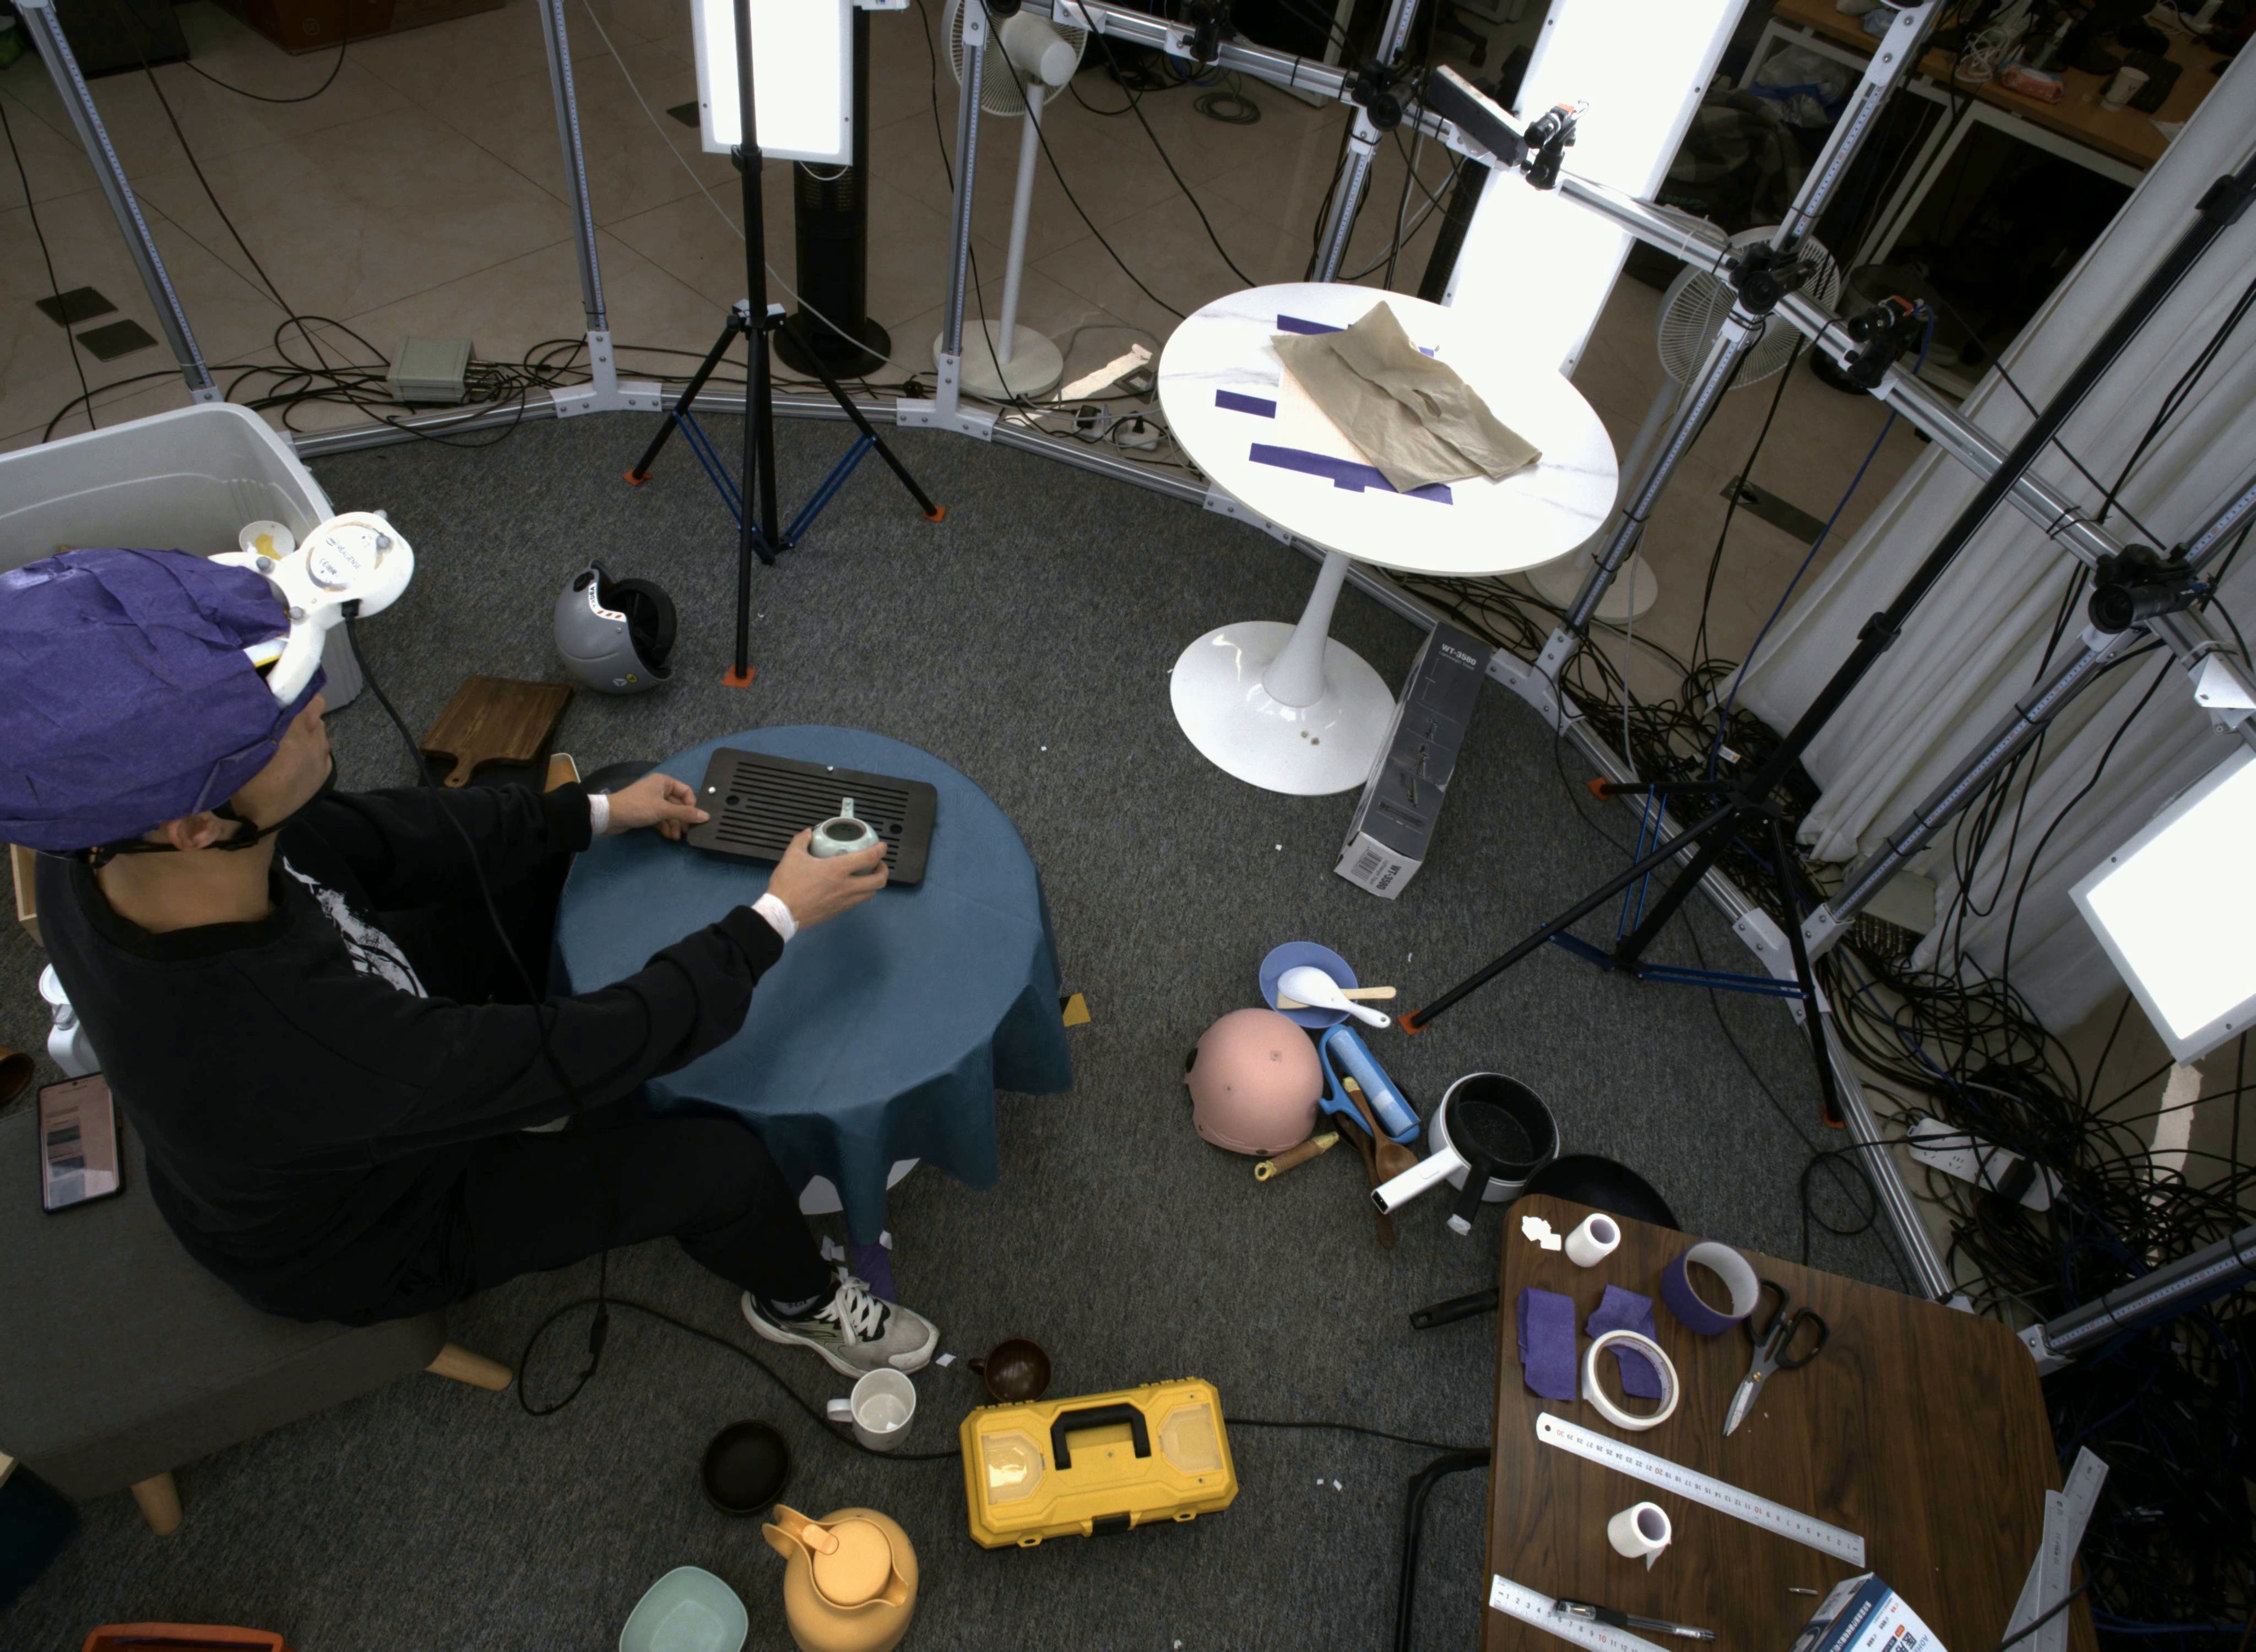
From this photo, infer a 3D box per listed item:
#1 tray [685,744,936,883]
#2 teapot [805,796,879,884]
[{"bbox_3d":[-0.414,-0.017,1.714,0.306,0.019,0.167,10,52,-11],"label":"tray"},{"bbox_3d":[-0.344,0.026,1.563,0.088,0.077,0.140,4,31,-8],"label":"teapot"}]
